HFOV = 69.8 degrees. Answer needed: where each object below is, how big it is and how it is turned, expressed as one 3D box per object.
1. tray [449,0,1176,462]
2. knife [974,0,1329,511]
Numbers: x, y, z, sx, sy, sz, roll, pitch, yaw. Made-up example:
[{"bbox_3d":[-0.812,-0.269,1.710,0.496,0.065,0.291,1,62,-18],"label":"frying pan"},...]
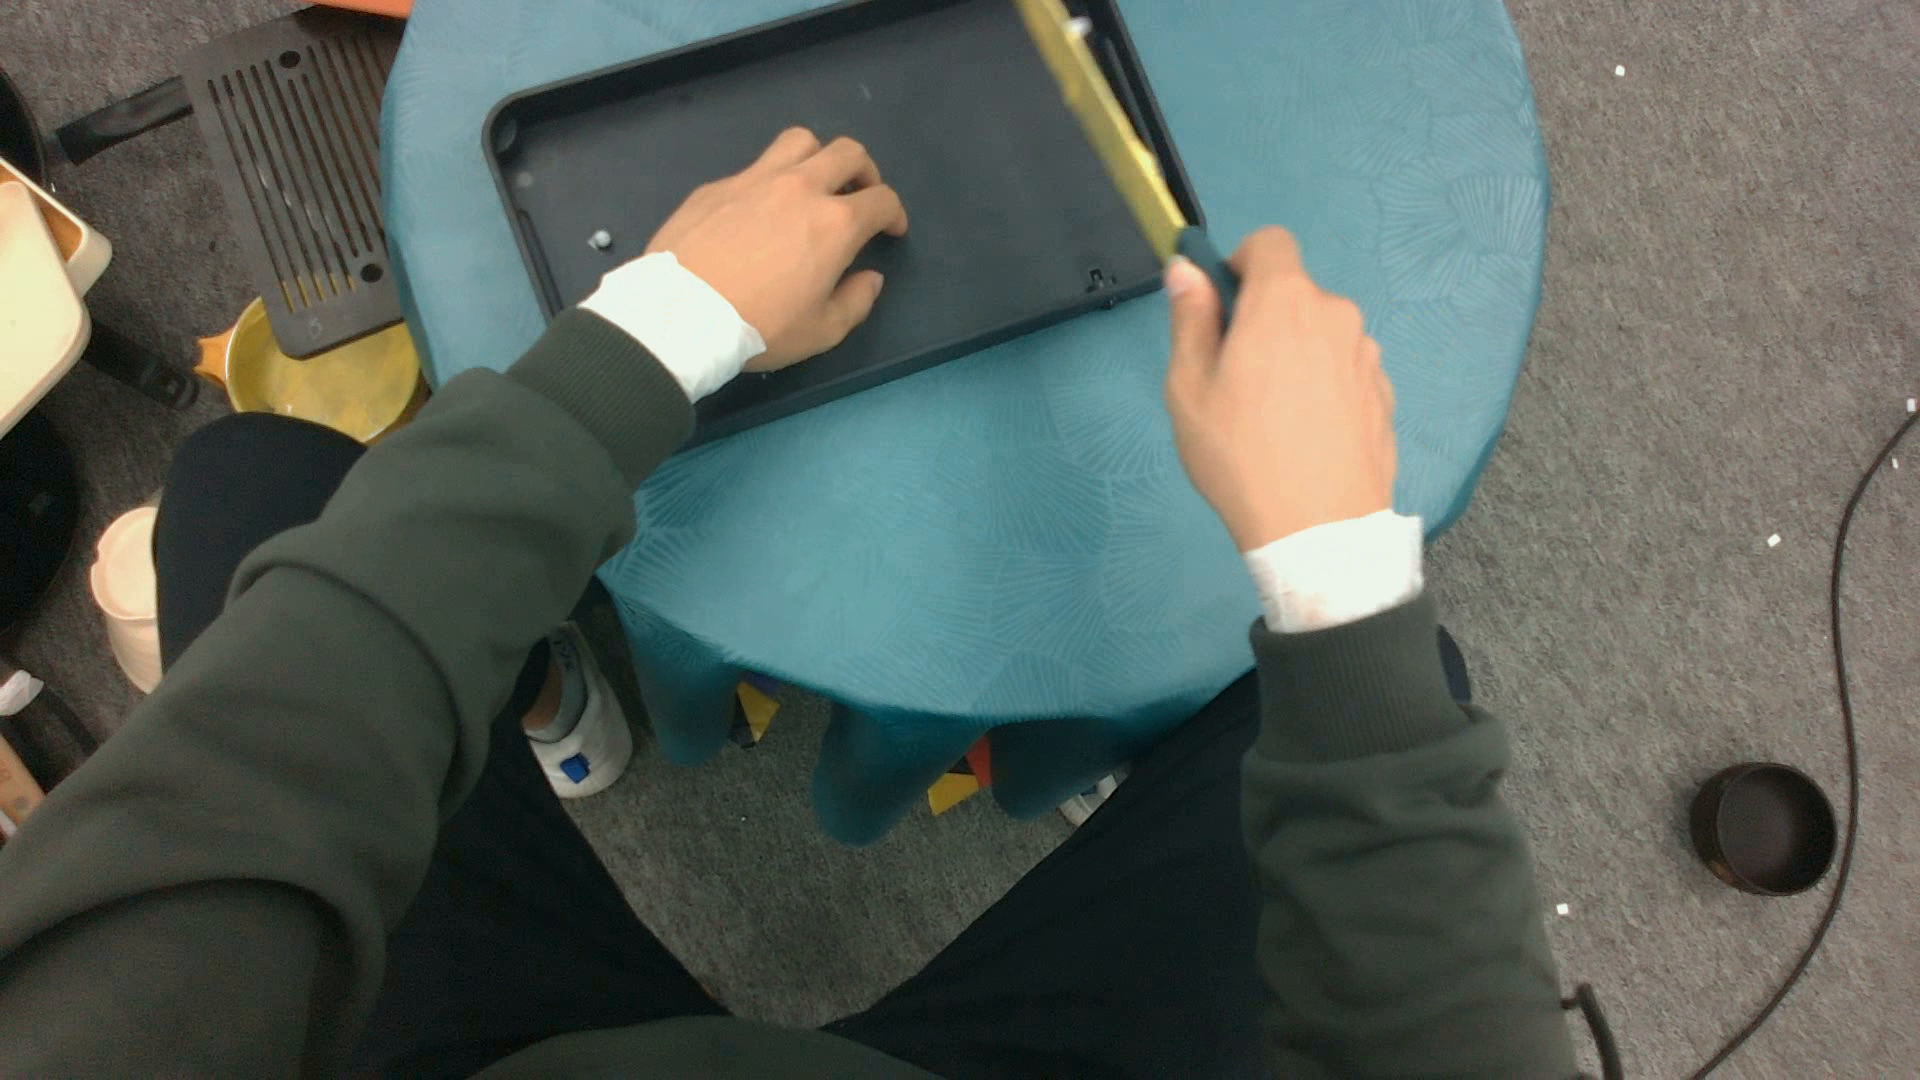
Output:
[{"bbox_3d":[-0.067,-0.172,0.679,0.318,0.037,0.184,-22,84,-11],"label":"tray"},{"bbox_3d":[0.073,-0.135,0.595,0.027,0.081,0.290,-31,78,4],"label":"knife"}]
